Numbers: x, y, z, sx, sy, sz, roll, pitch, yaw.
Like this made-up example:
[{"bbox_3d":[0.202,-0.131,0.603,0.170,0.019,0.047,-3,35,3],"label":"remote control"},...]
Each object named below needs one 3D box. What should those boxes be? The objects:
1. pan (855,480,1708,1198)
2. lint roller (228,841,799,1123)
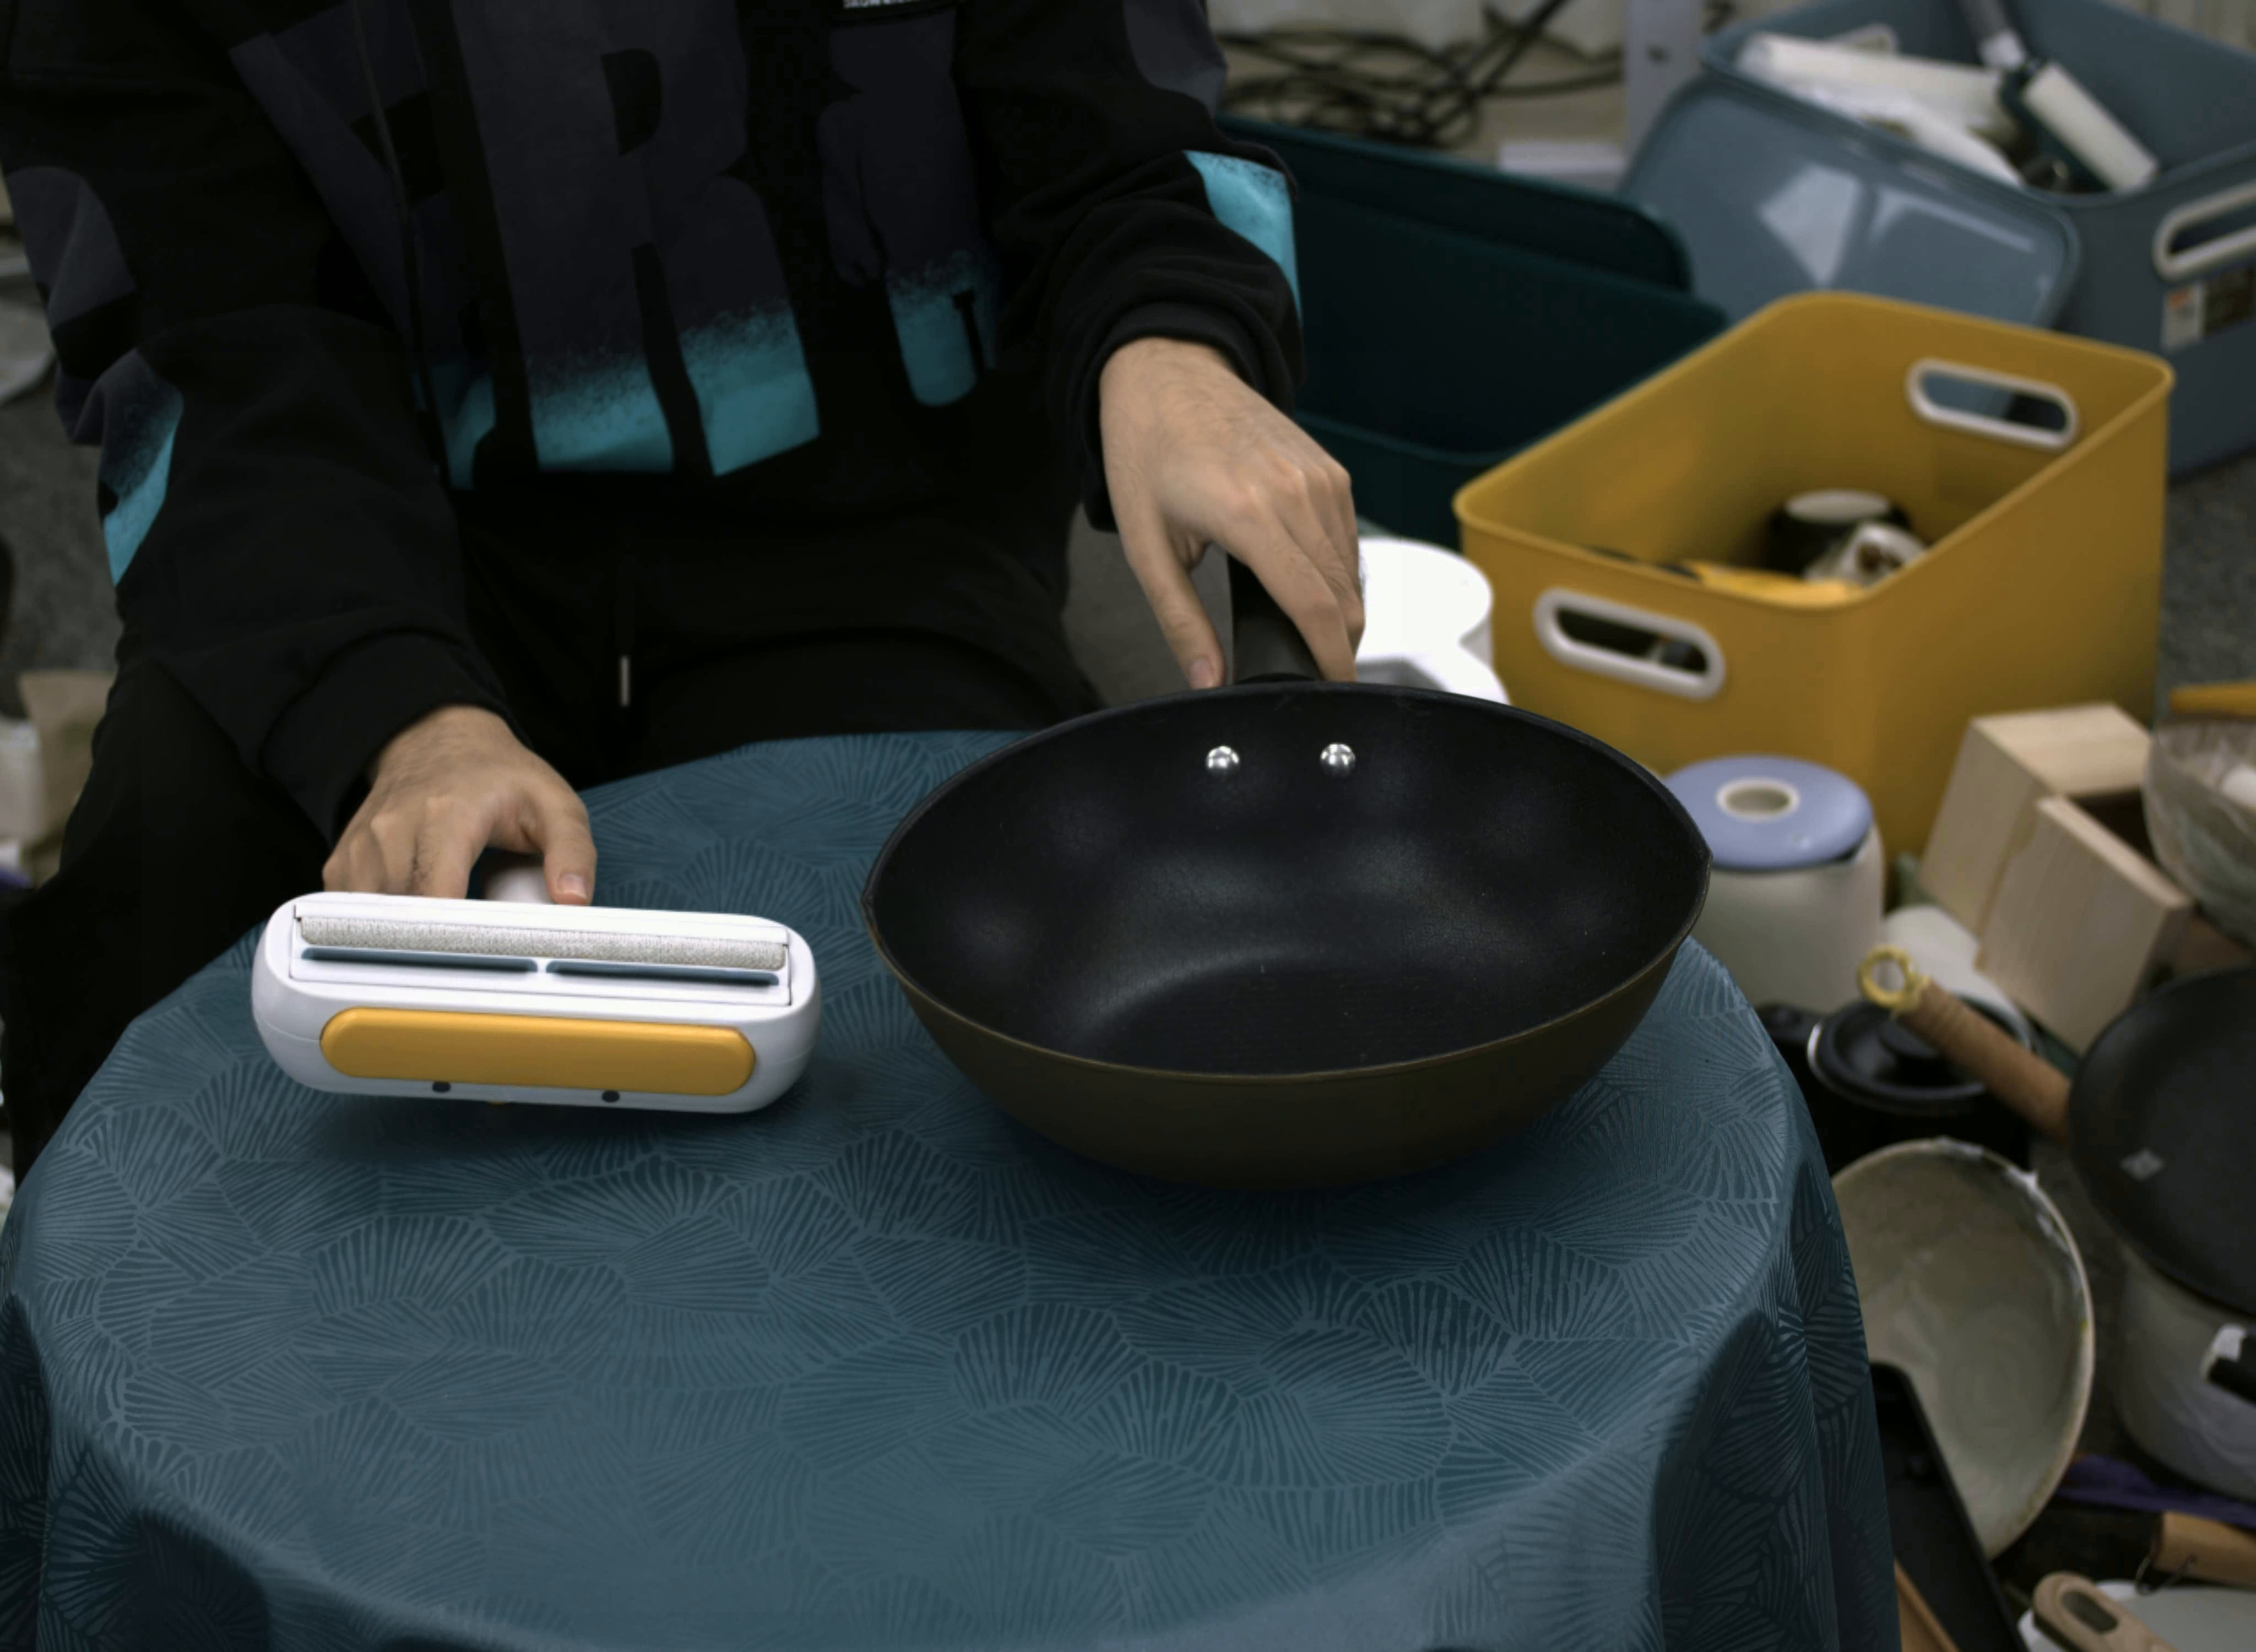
[{"bbox_3d":[0.054,0.007,1.987,0.287,0.086,0.470,-2,27,1],"label":"pan"},{"bbox_3d":[-0.210,0.041,1.962,0.192,0.073,0.195,1,27,-3],"label":"lint roller"}]
